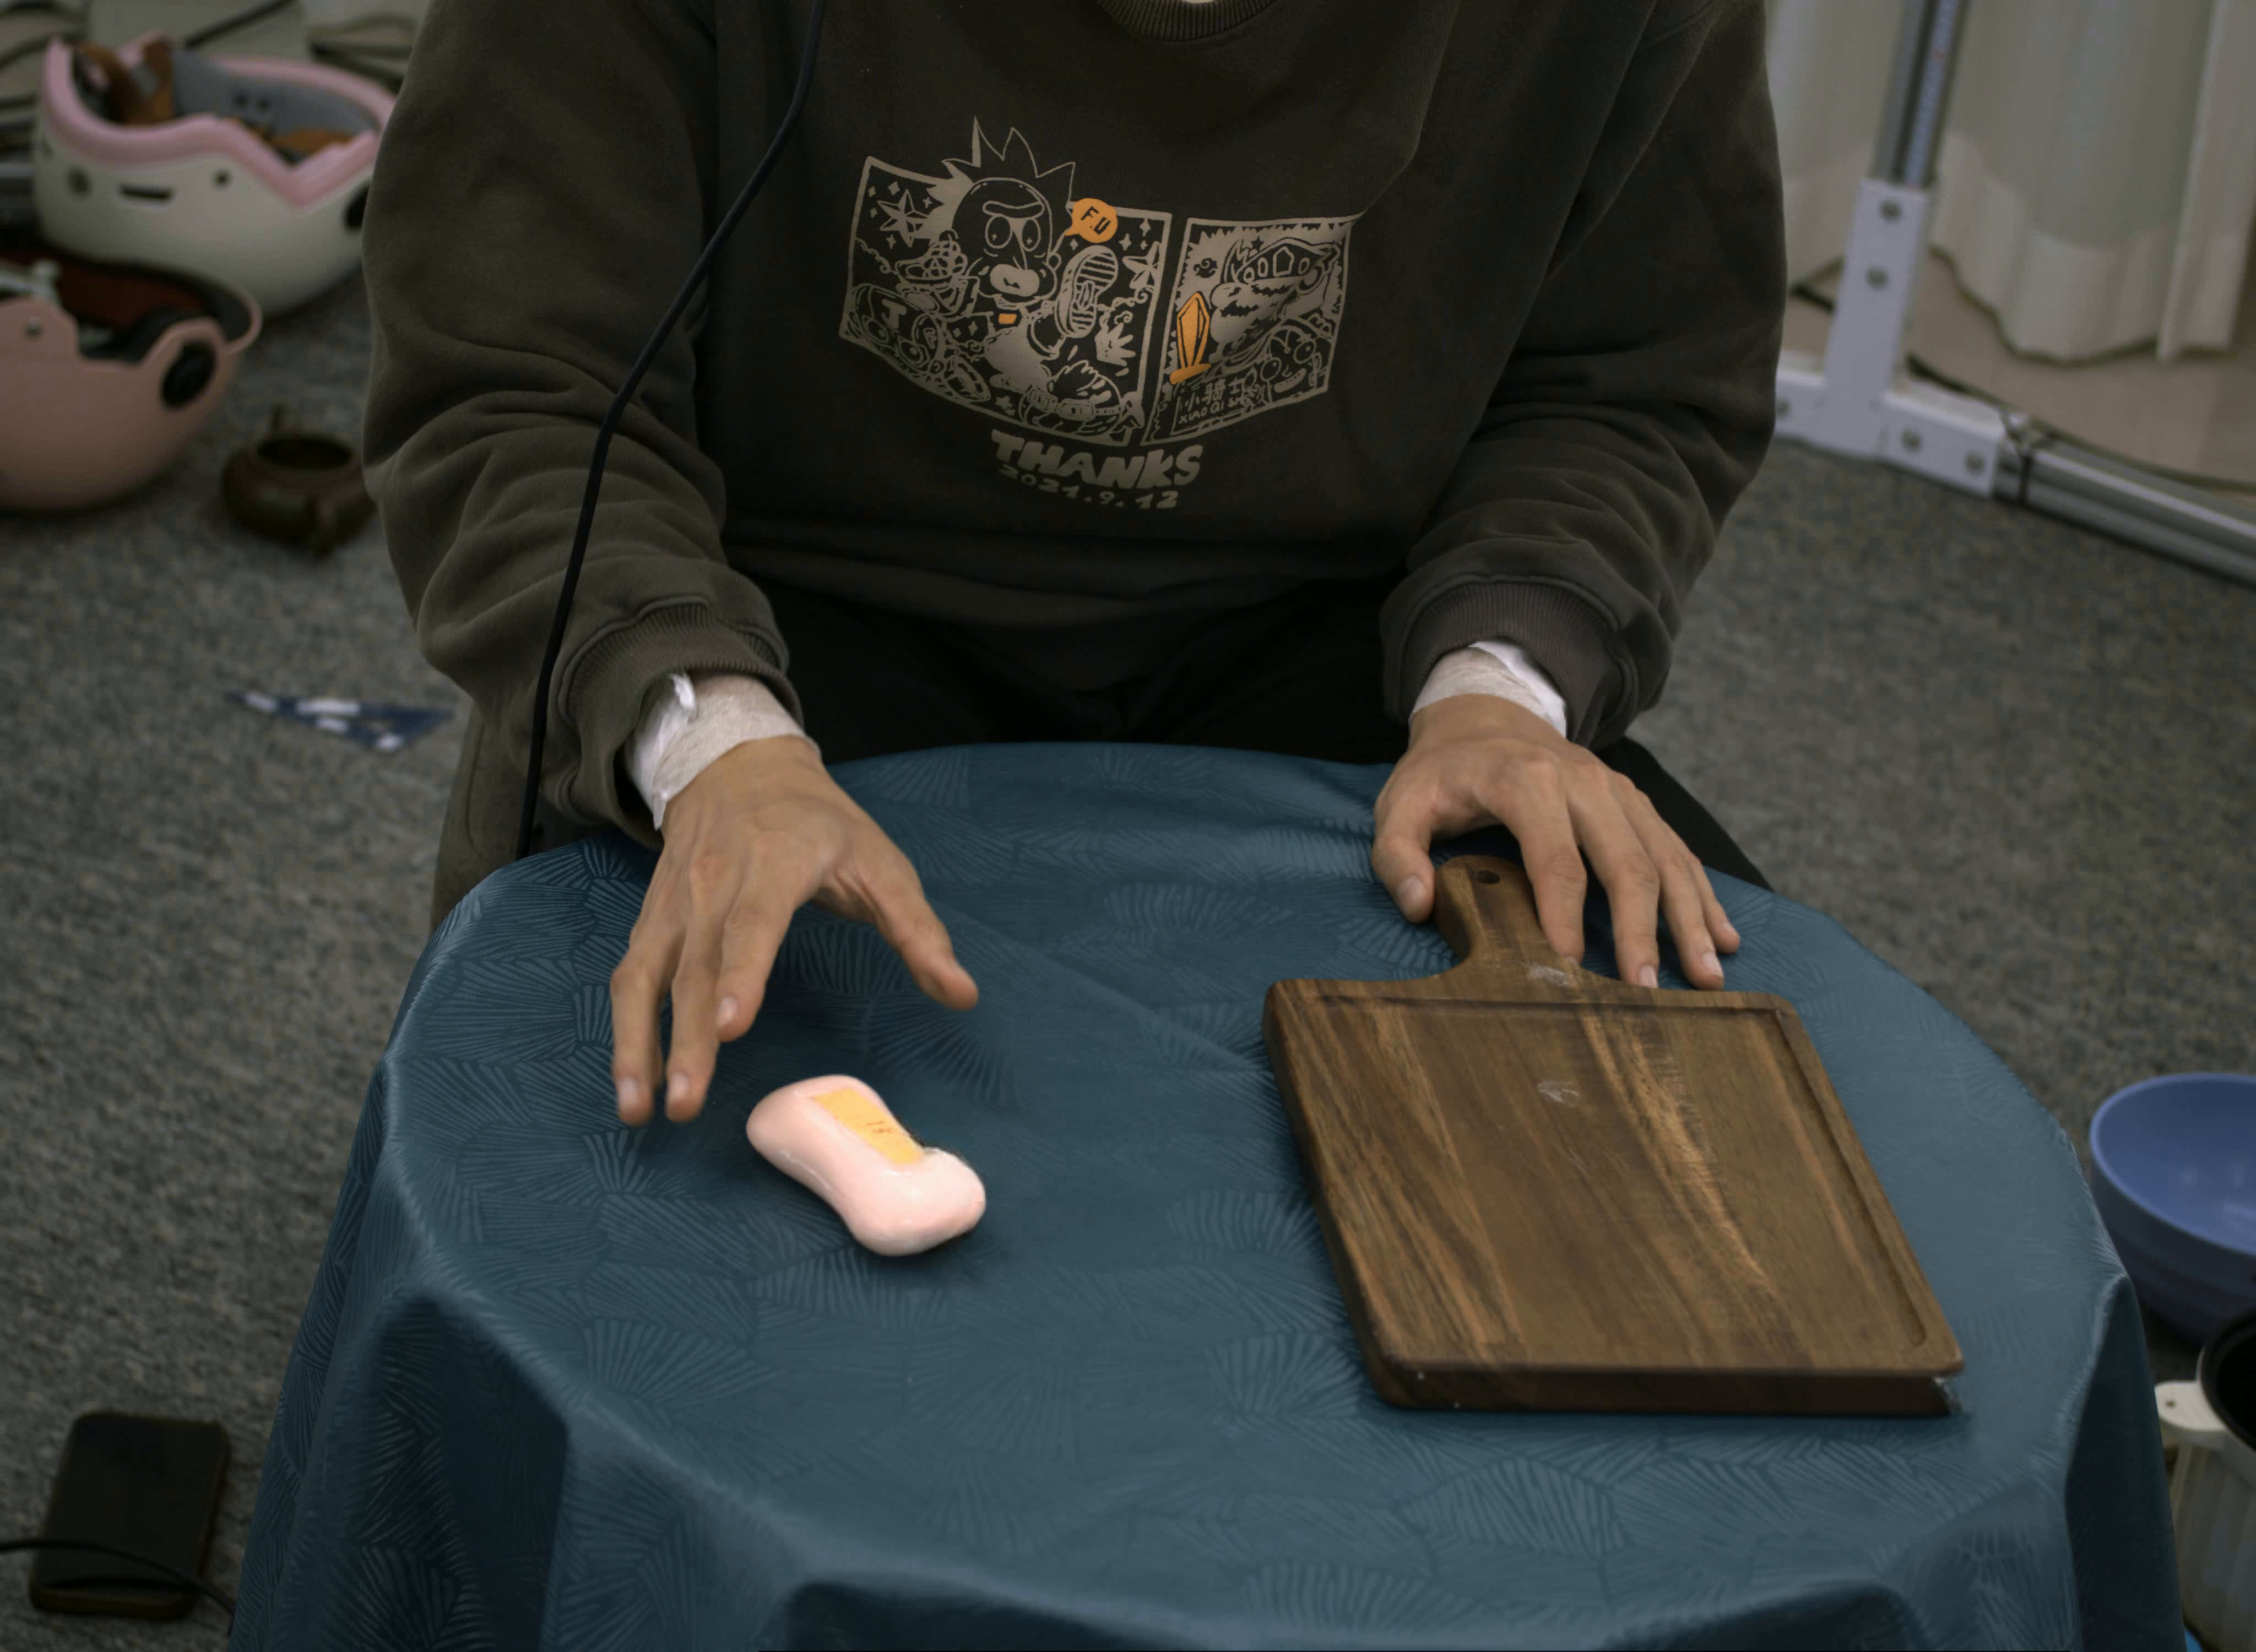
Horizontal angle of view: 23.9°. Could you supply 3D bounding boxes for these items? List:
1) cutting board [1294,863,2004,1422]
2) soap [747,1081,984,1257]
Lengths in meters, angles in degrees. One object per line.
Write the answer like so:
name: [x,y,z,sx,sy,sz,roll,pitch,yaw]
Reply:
cutting board: [0.166,0.103,1.860,0.200,0.023,0.355,2,27,-8]
soap: [-0.088,0.114,1.773,0.050,0.030,0.095,-11,30,-33]
